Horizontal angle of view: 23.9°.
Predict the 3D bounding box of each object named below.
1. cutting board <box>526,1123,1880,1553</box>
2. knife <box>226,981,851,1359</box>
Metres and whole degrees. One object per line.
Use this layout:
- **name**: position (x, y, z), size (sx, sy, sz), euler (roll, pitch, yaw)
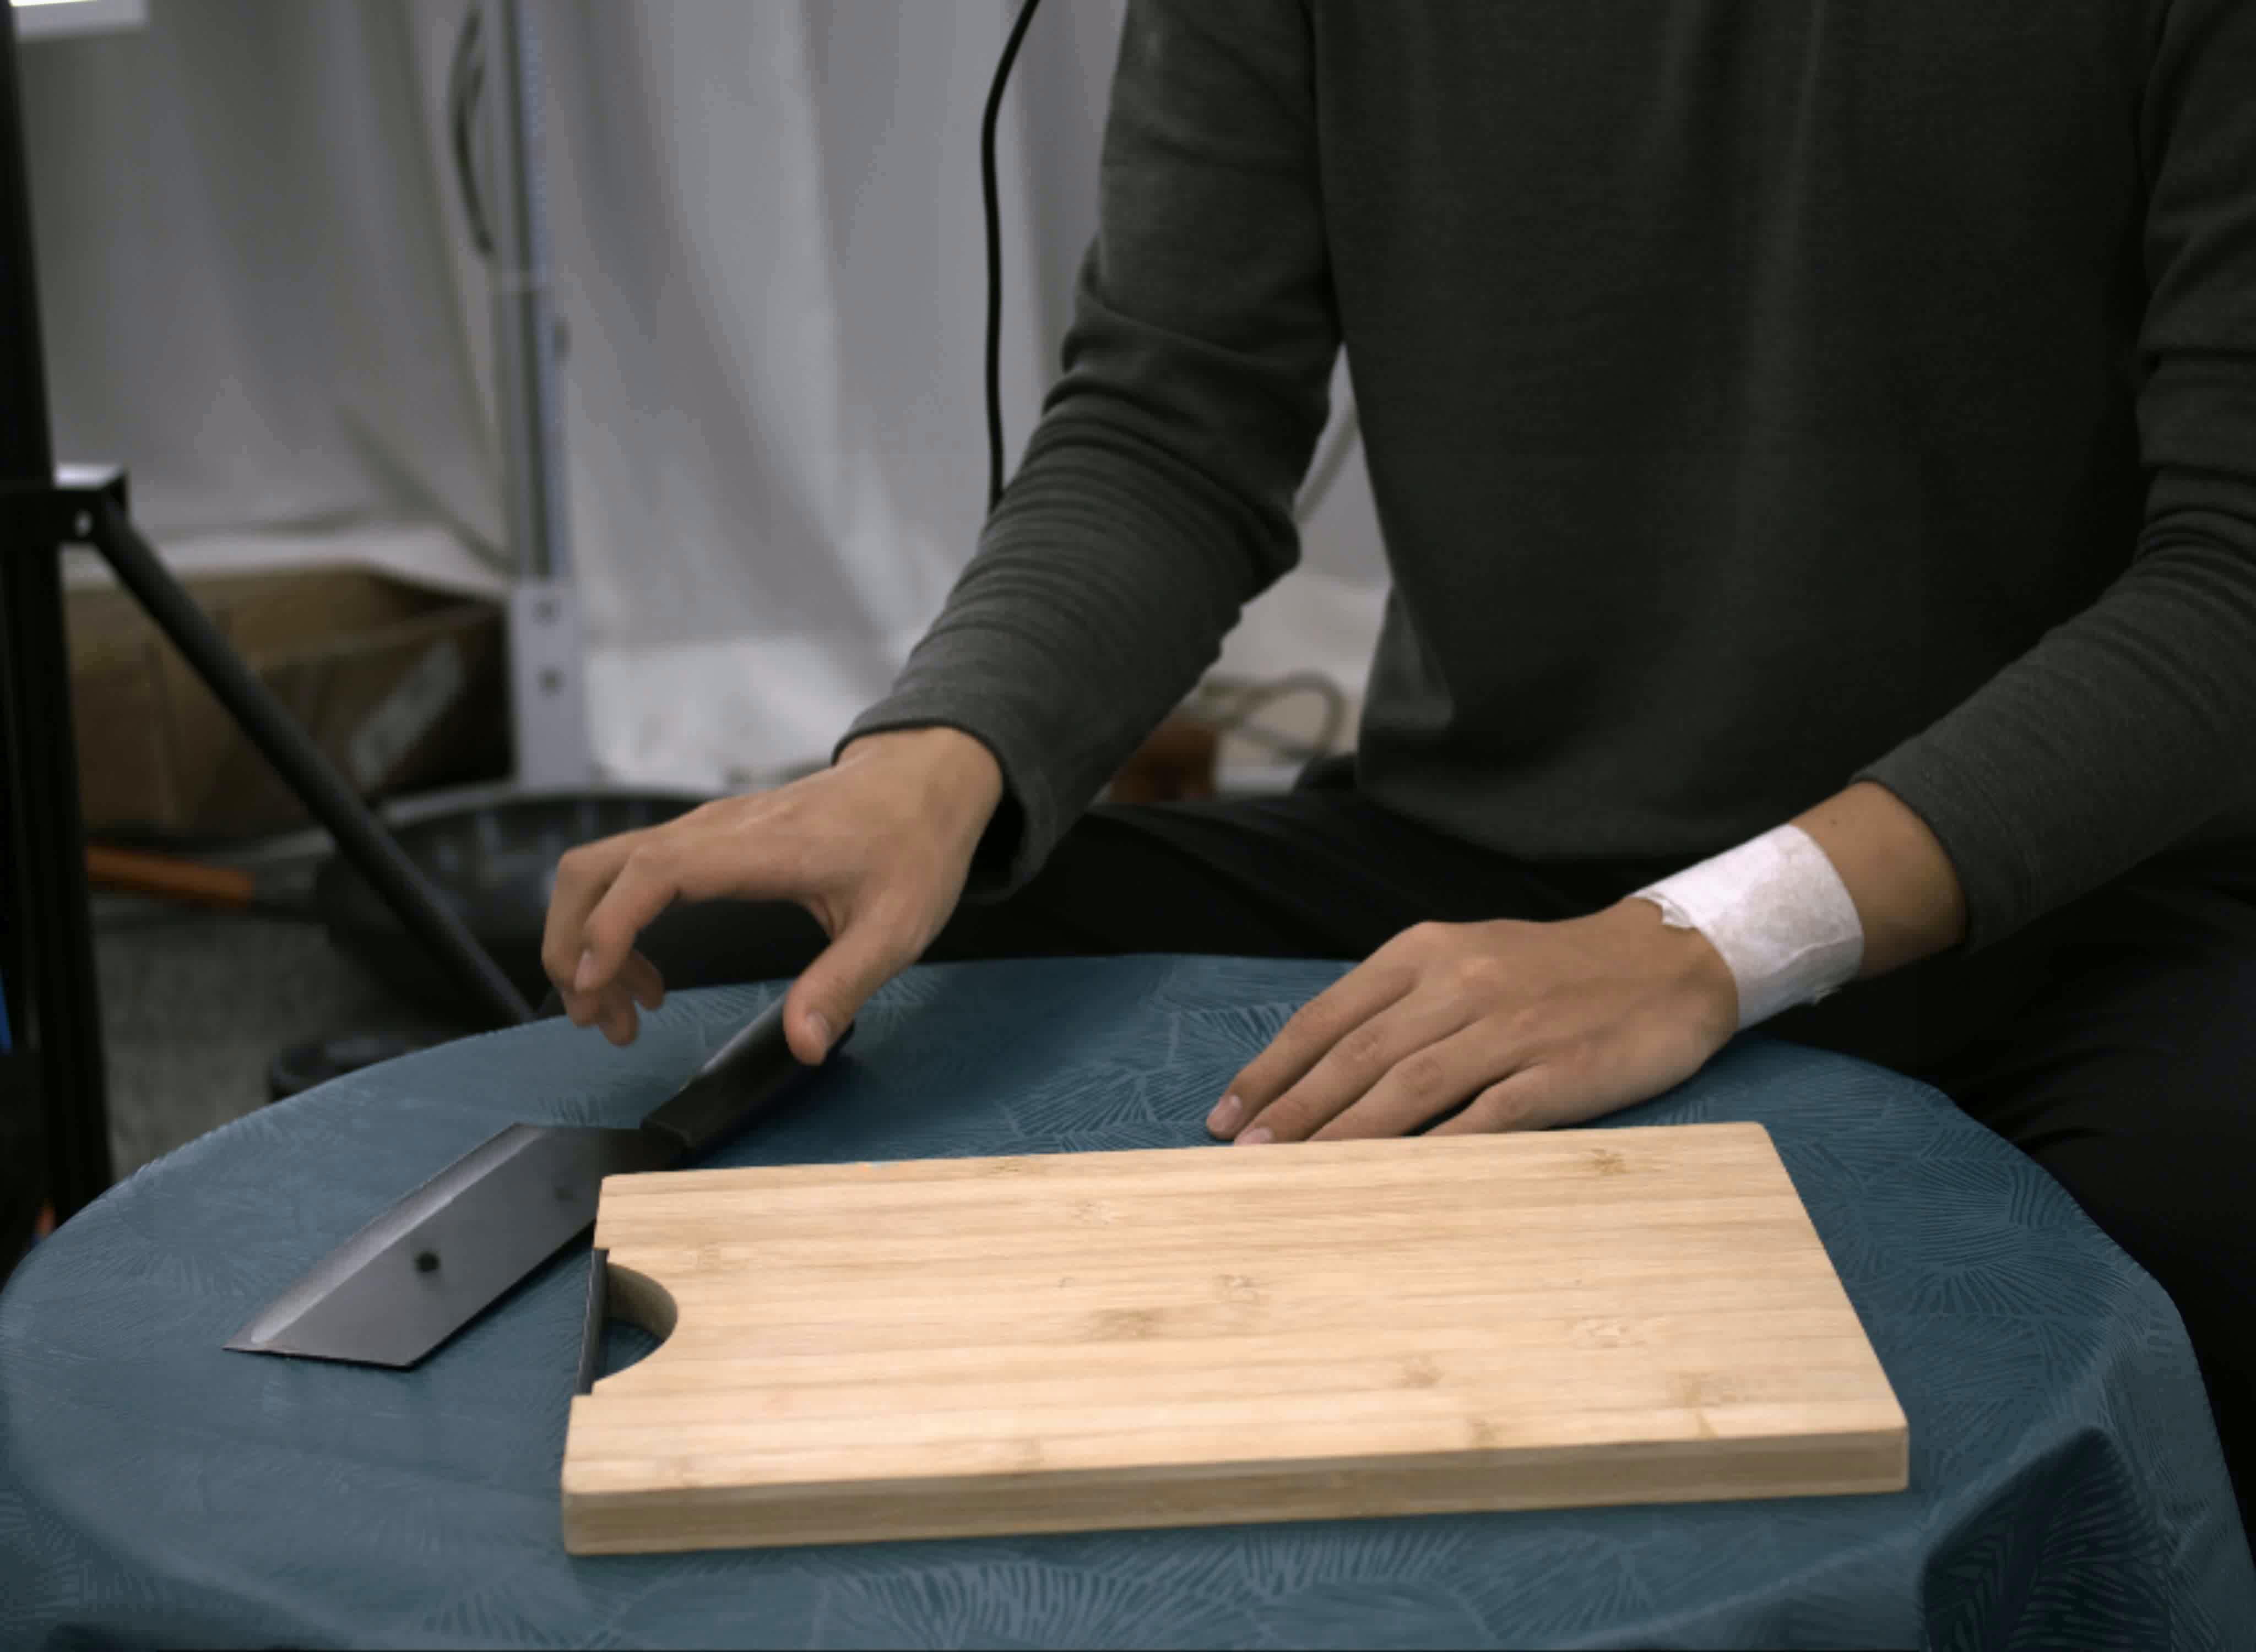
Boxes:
- **cutting board**: position (0.017, 0.135, 1.434), size (0.346, 0.023, 0.252), euler (-3, 15, -1)
- **knife**: position (-0.165, 0.101, 1.588), size (0.082, 0.021, 0.297), euler (4, 19, 27)
